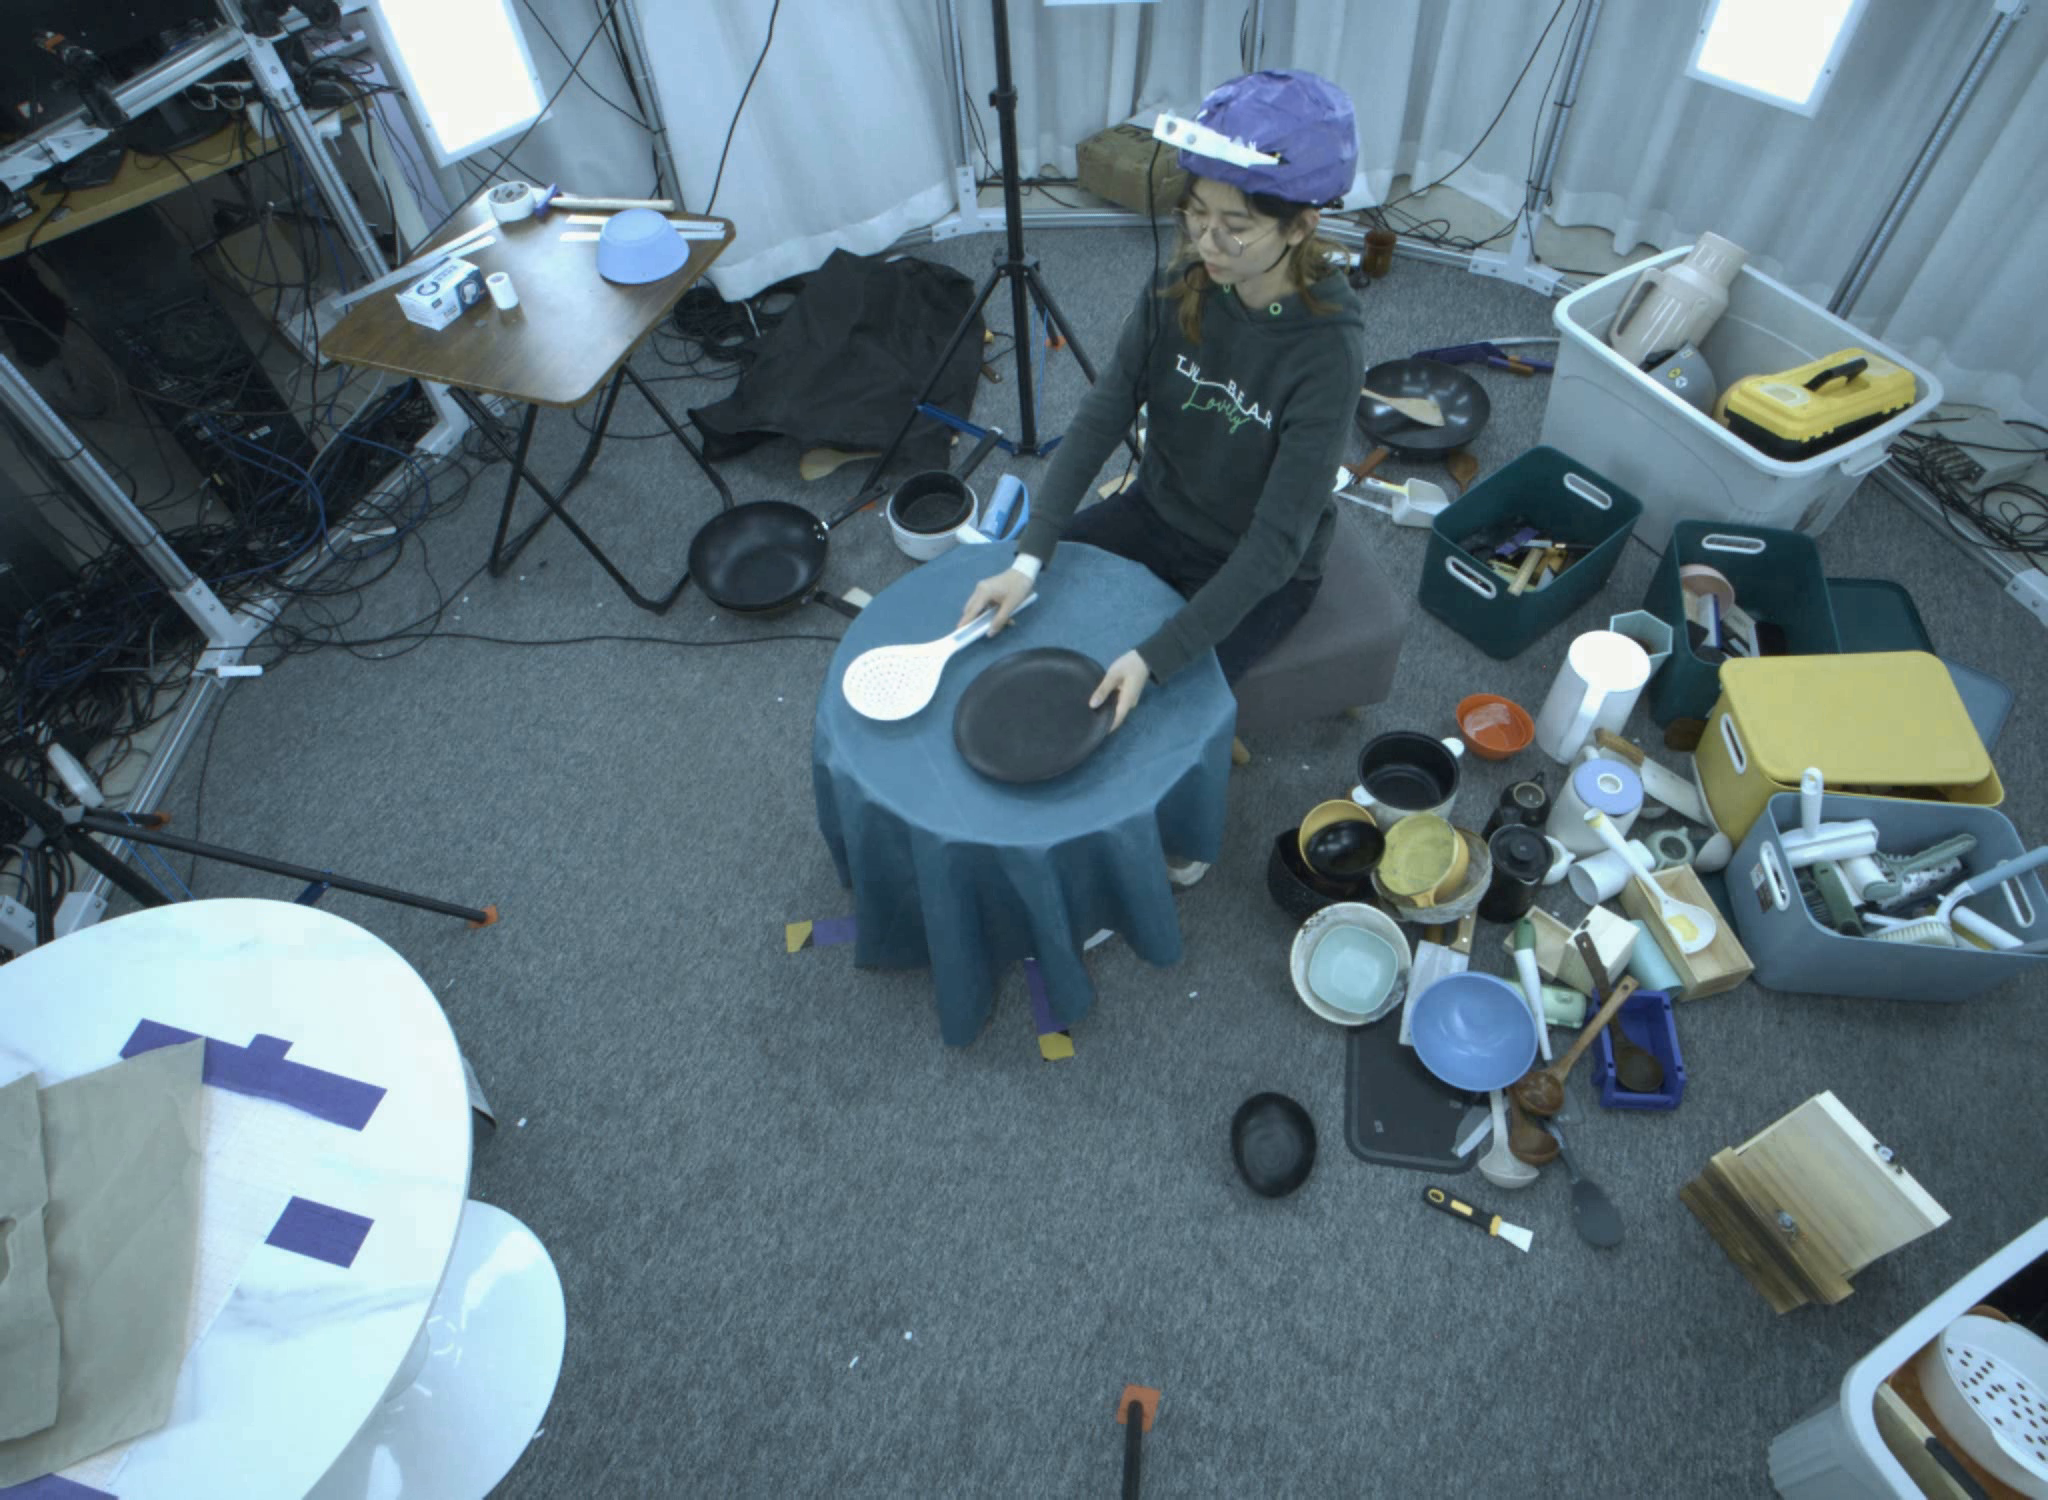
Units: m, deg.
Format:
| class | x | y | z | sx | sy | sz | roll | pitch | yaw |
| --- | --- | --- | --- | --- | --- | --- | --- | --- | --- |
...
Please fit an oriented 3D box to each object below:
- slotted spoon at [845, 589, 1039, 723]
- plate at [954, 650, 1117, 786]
| class | x | y | z | sx | sy | sz | roll | pitch | yaw |
| --- | --- | --- | --- | --- | --- | --- | --- | --- | --- |
| slotted spoon | -0.117 | -0.151 | 1.871 | 0.352 | 0.046 | 0.134 | -38 | 67 | -19 |
| plate | 0.017 | -0.045 | 1.795 | 0.243 | 0.024 | 0.242 | -7 | 55 | 11 |
